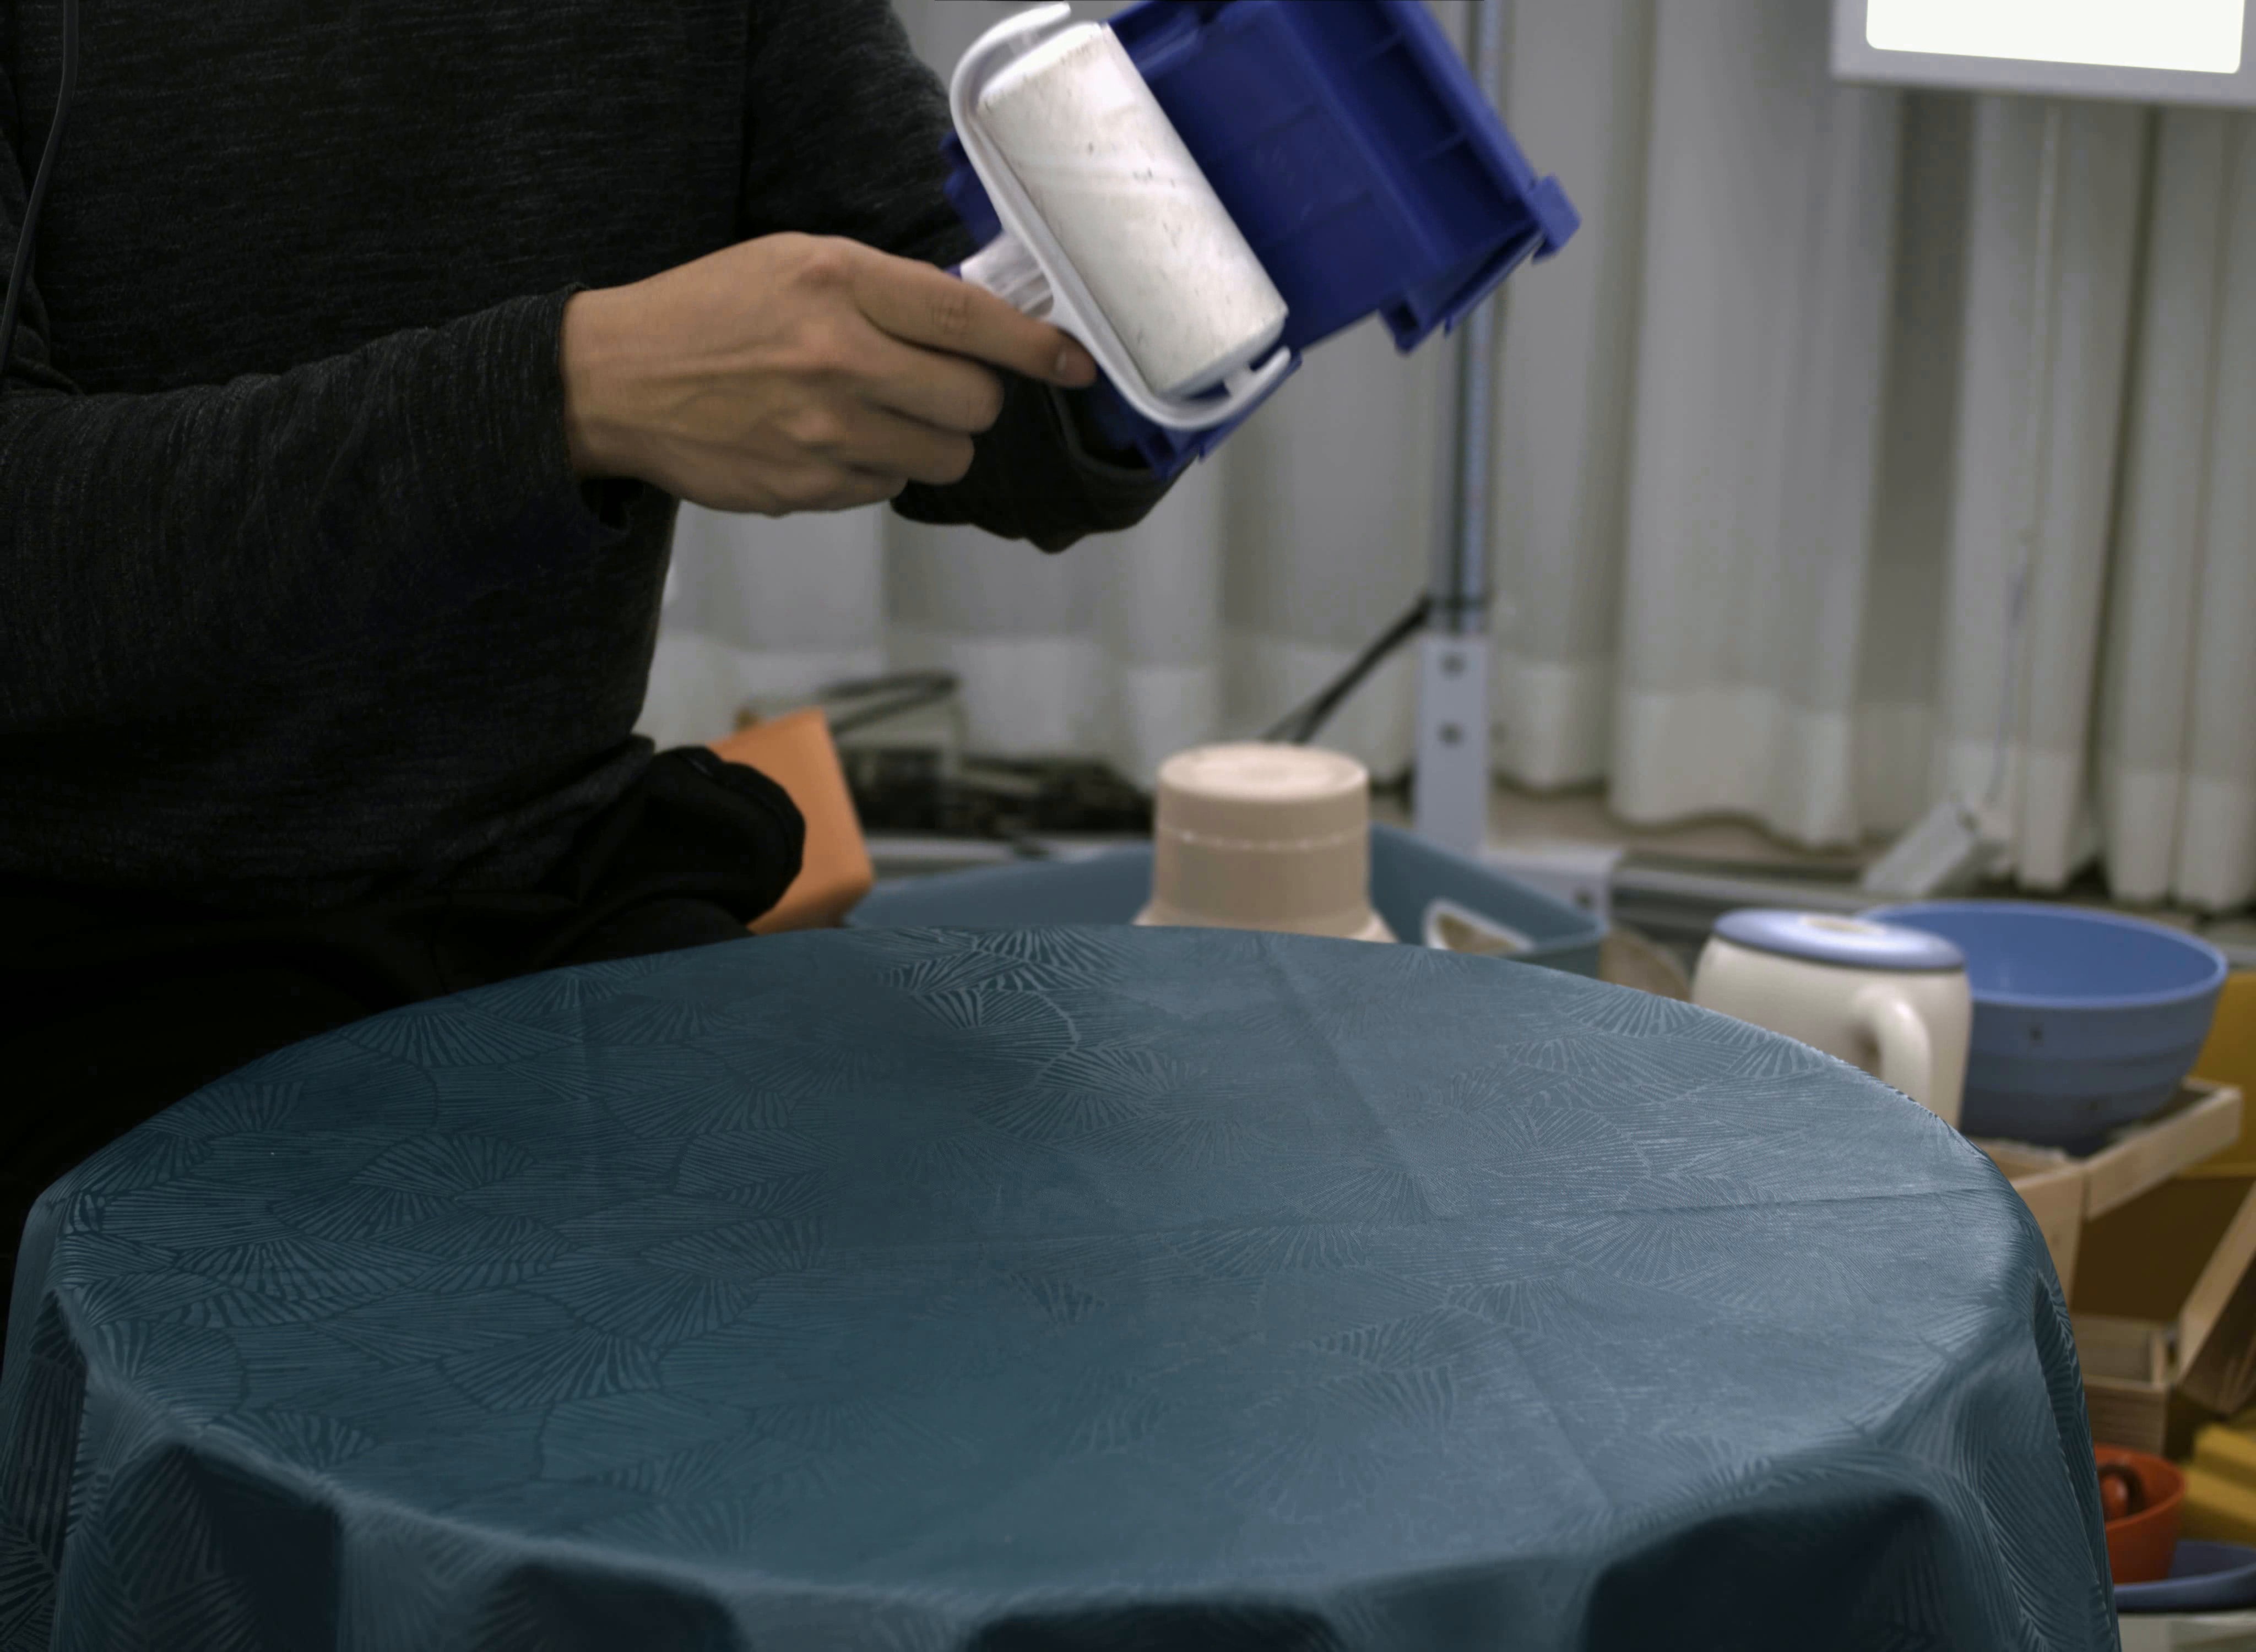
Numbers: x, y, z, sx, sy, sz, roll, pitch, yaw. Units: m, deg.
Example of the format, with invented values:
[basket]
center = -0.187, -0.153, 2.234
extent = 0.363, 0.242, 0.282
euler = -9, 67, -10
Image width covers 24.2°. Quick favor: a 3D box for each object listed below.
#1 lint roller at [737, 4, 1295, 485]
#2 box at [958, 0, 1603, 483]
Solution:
[lint roller]
center = -0.051, -0.148, 1.546
extent = 0.180, 0.133, 0.050
euler = -28, 10, 22
[box]
center = 0.047, -0.195, 1.569
extent = 0.178, 0.125, 0.082
euler = -27, 14, 39
